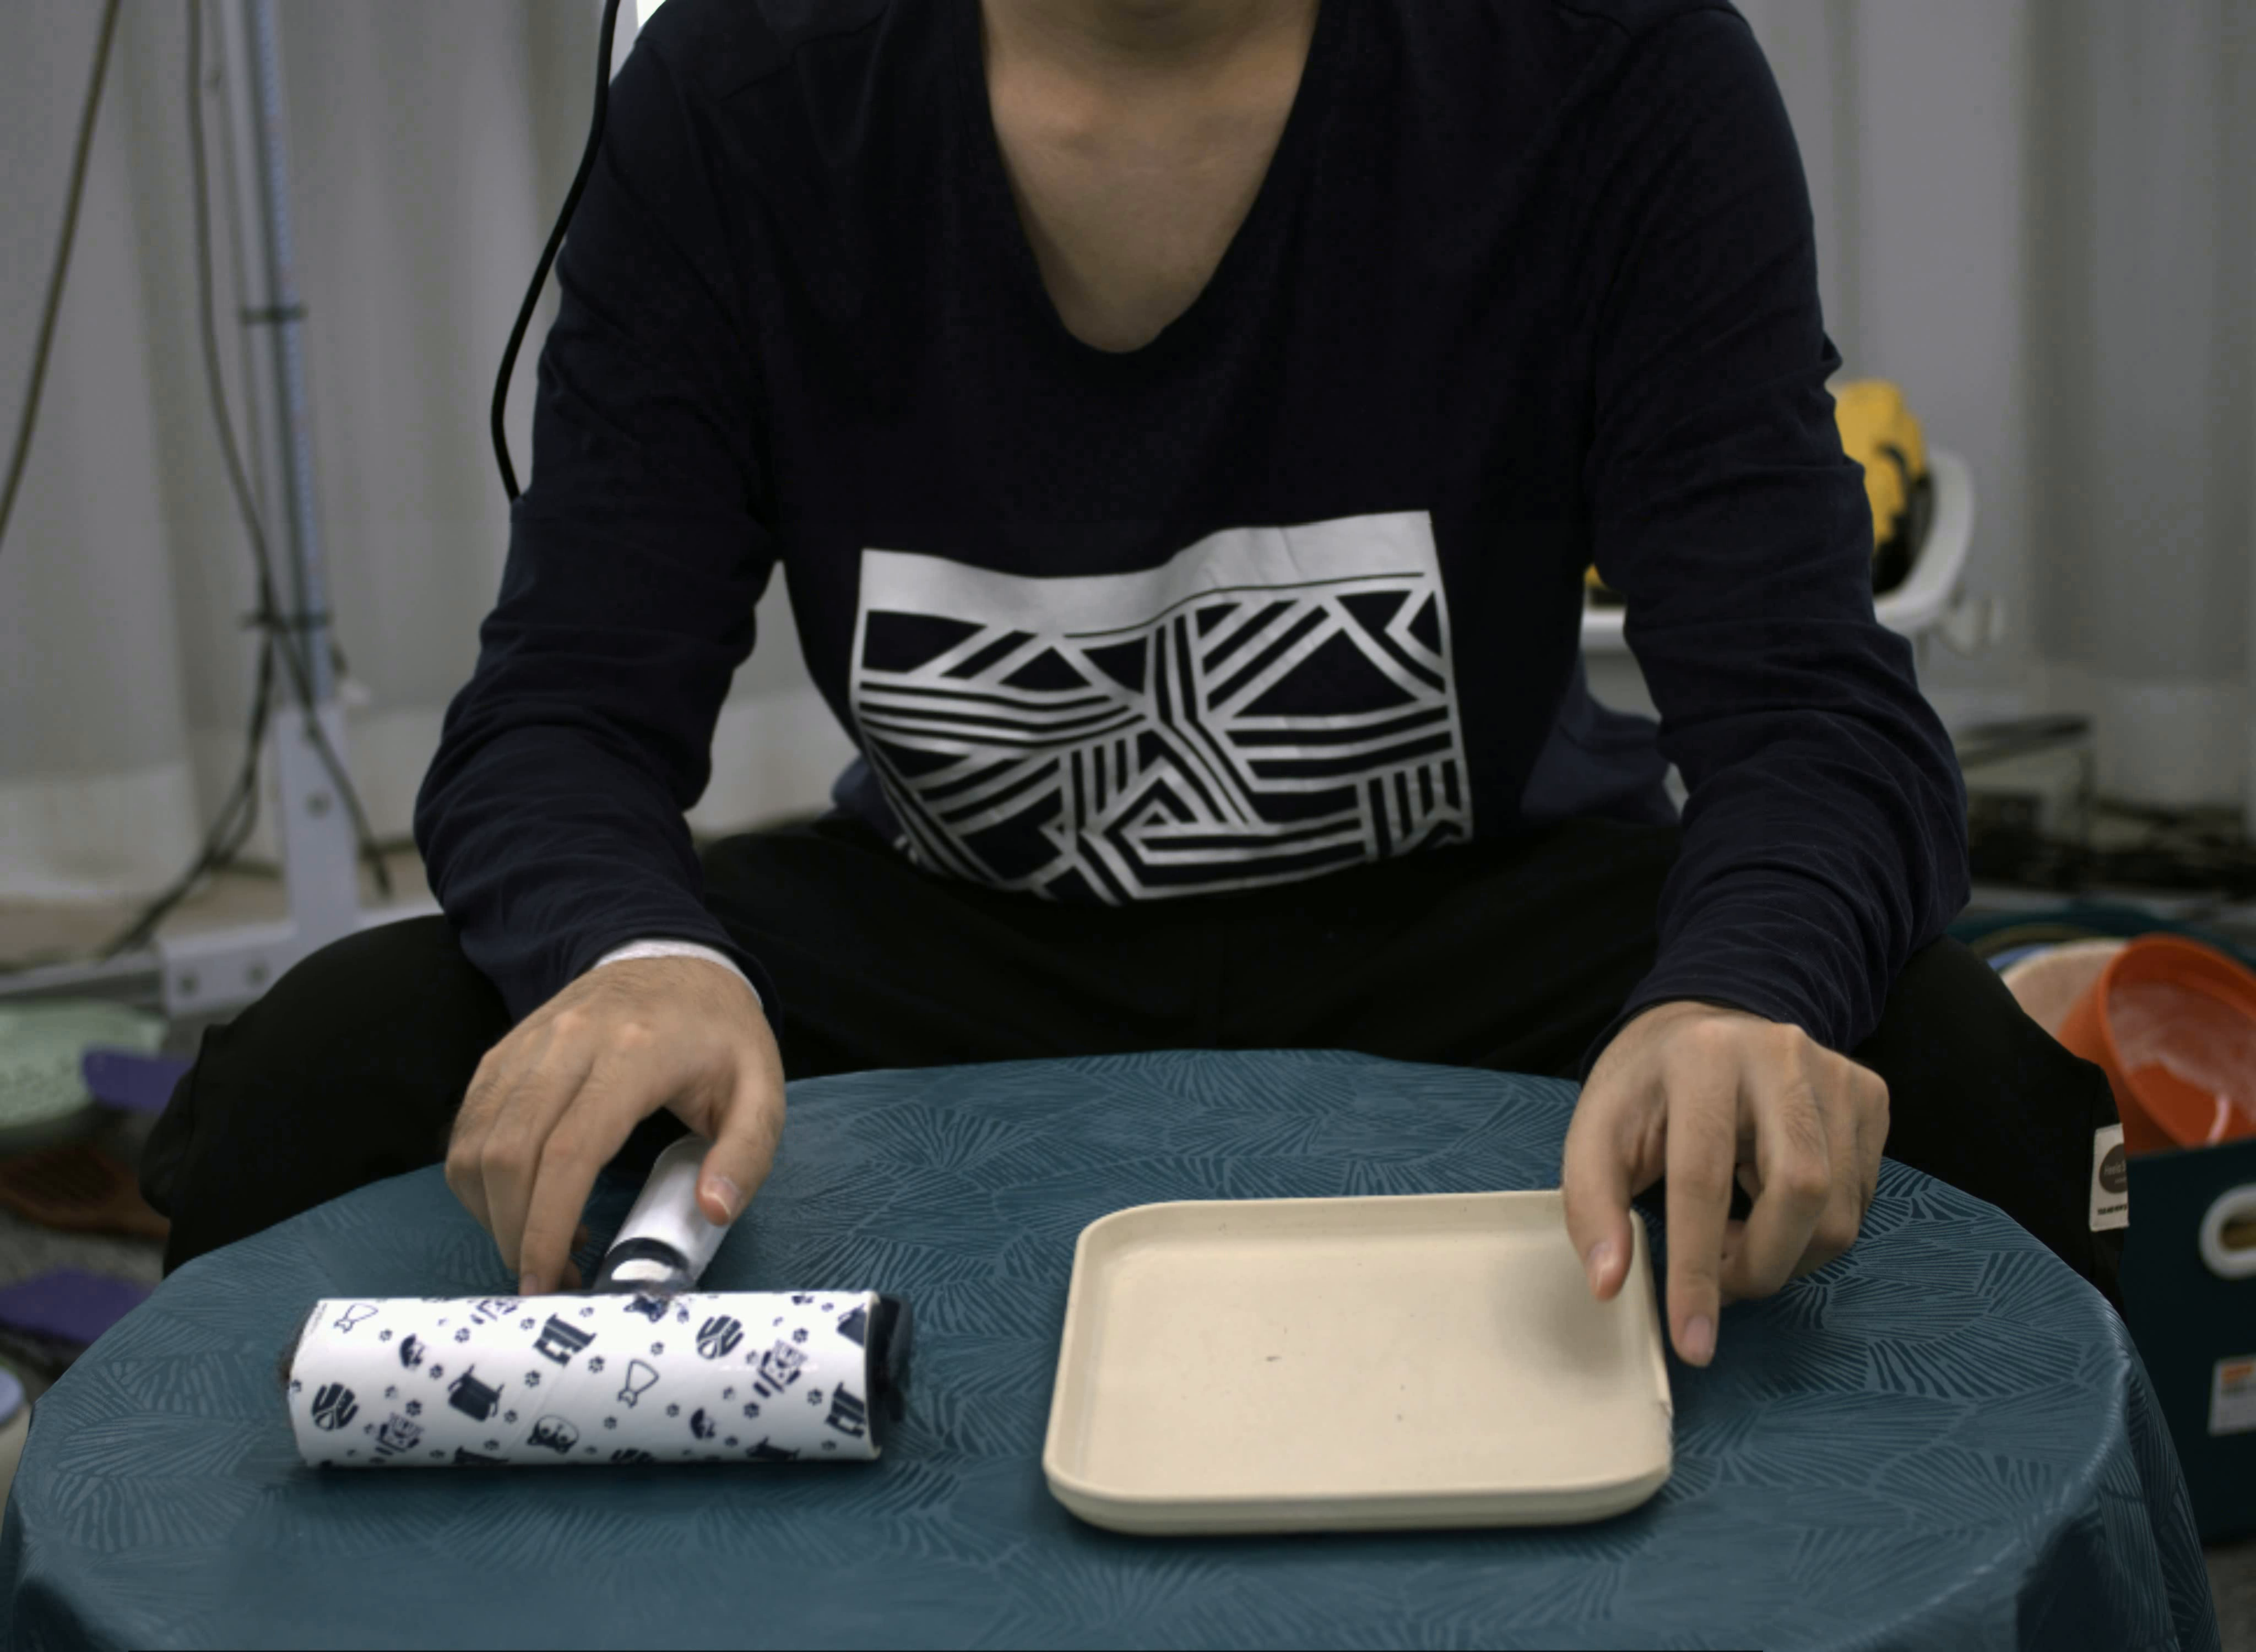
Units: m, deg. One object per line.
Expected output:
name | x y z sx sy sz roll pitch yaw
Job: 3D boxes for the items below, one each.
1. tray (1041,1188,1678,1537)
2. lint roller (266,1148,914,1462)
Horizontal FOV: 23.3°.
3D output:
tray | 0.065 0.150 1.537 0.171 0.017 0.241 -3 15 4
lint roller | -0.143 0.129 1.608 0.176 0.050 0.248 -2 12 4
